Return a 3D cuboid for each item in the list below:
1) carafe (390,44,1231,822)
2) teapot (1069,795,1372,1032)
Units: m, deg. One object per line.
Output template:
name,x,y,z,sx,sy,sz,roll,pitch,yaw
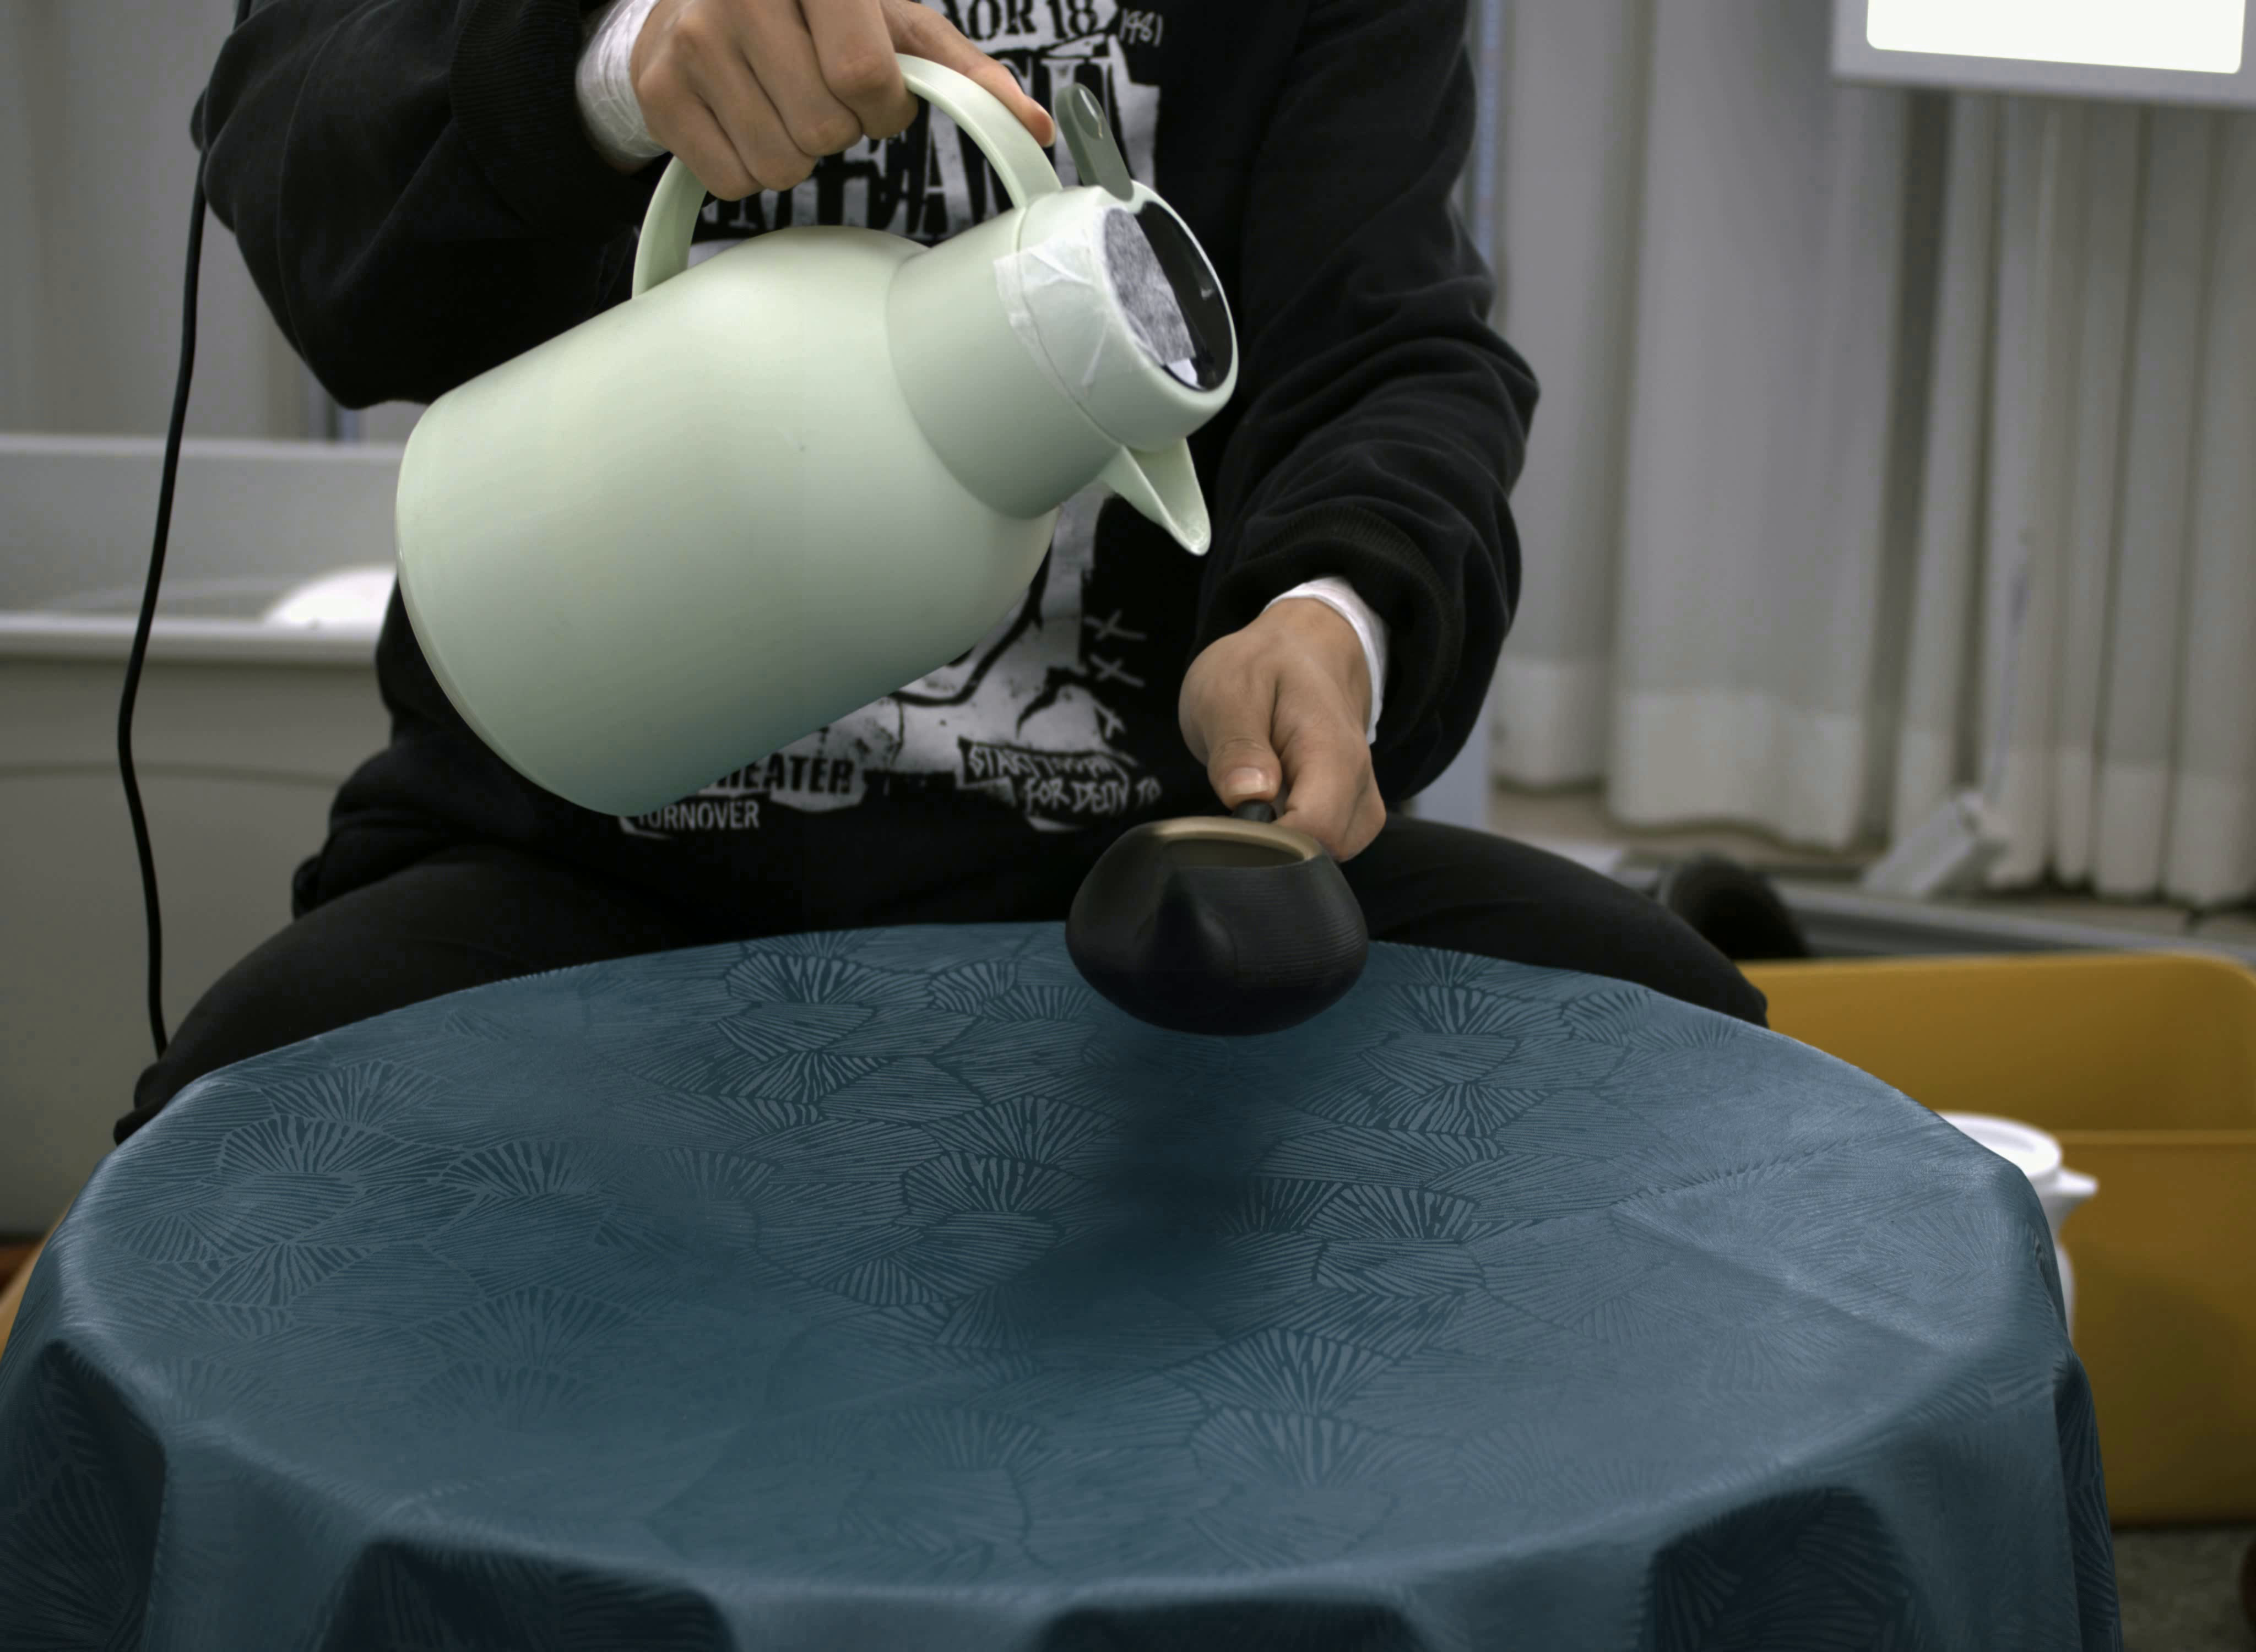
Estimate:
carafe,-0.096,-0.124,1.579,0.255,0.187,0.144,-29,-2,29
teapot,0.028,0.028,1.565,0.090,0.053,0.133,9,16,11
